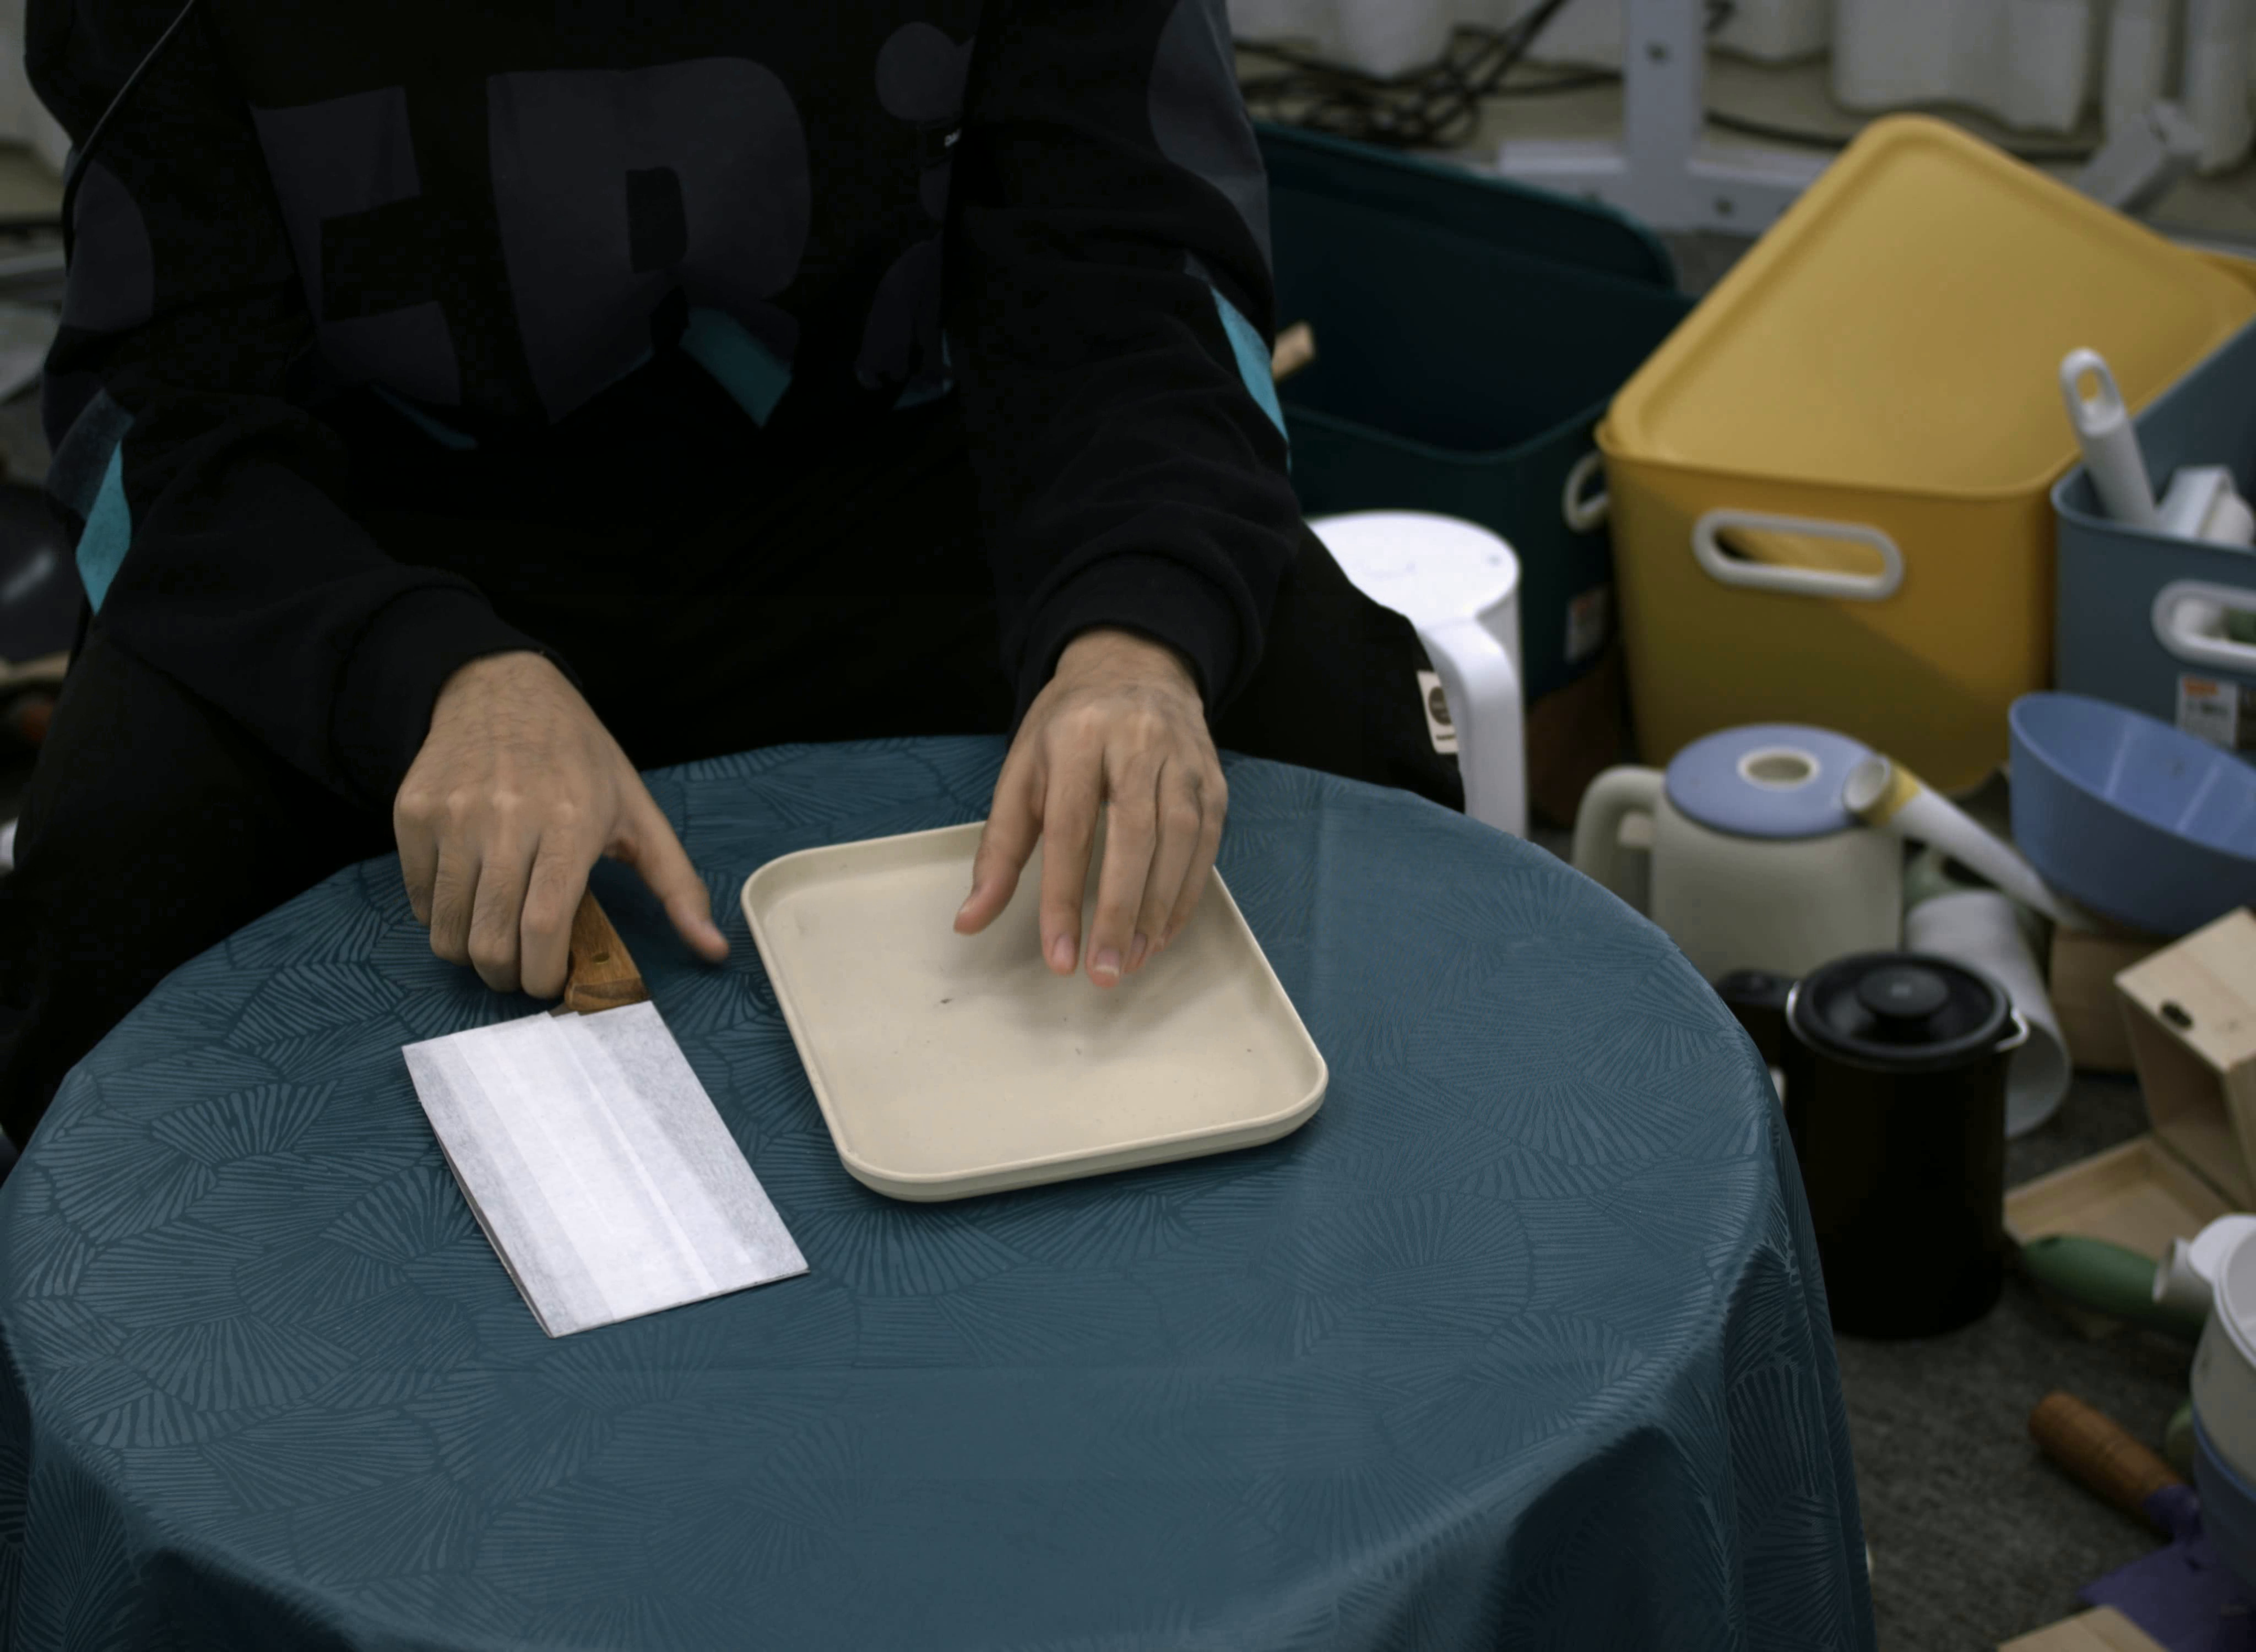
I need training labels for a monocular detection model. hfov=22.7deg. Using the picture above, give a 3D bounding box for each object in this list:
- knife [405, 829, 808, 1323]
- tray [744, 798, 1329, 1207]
[{"bbox_3d":[-0.197,0.085,1.935,0.093,0.021,0.308,-14,32,-16],"label":"knife"},{"bbox_3d":[-0.035,0.060,1.962,0.171,0.017,0.242,-10,29,-10],"label":"tray"}]
